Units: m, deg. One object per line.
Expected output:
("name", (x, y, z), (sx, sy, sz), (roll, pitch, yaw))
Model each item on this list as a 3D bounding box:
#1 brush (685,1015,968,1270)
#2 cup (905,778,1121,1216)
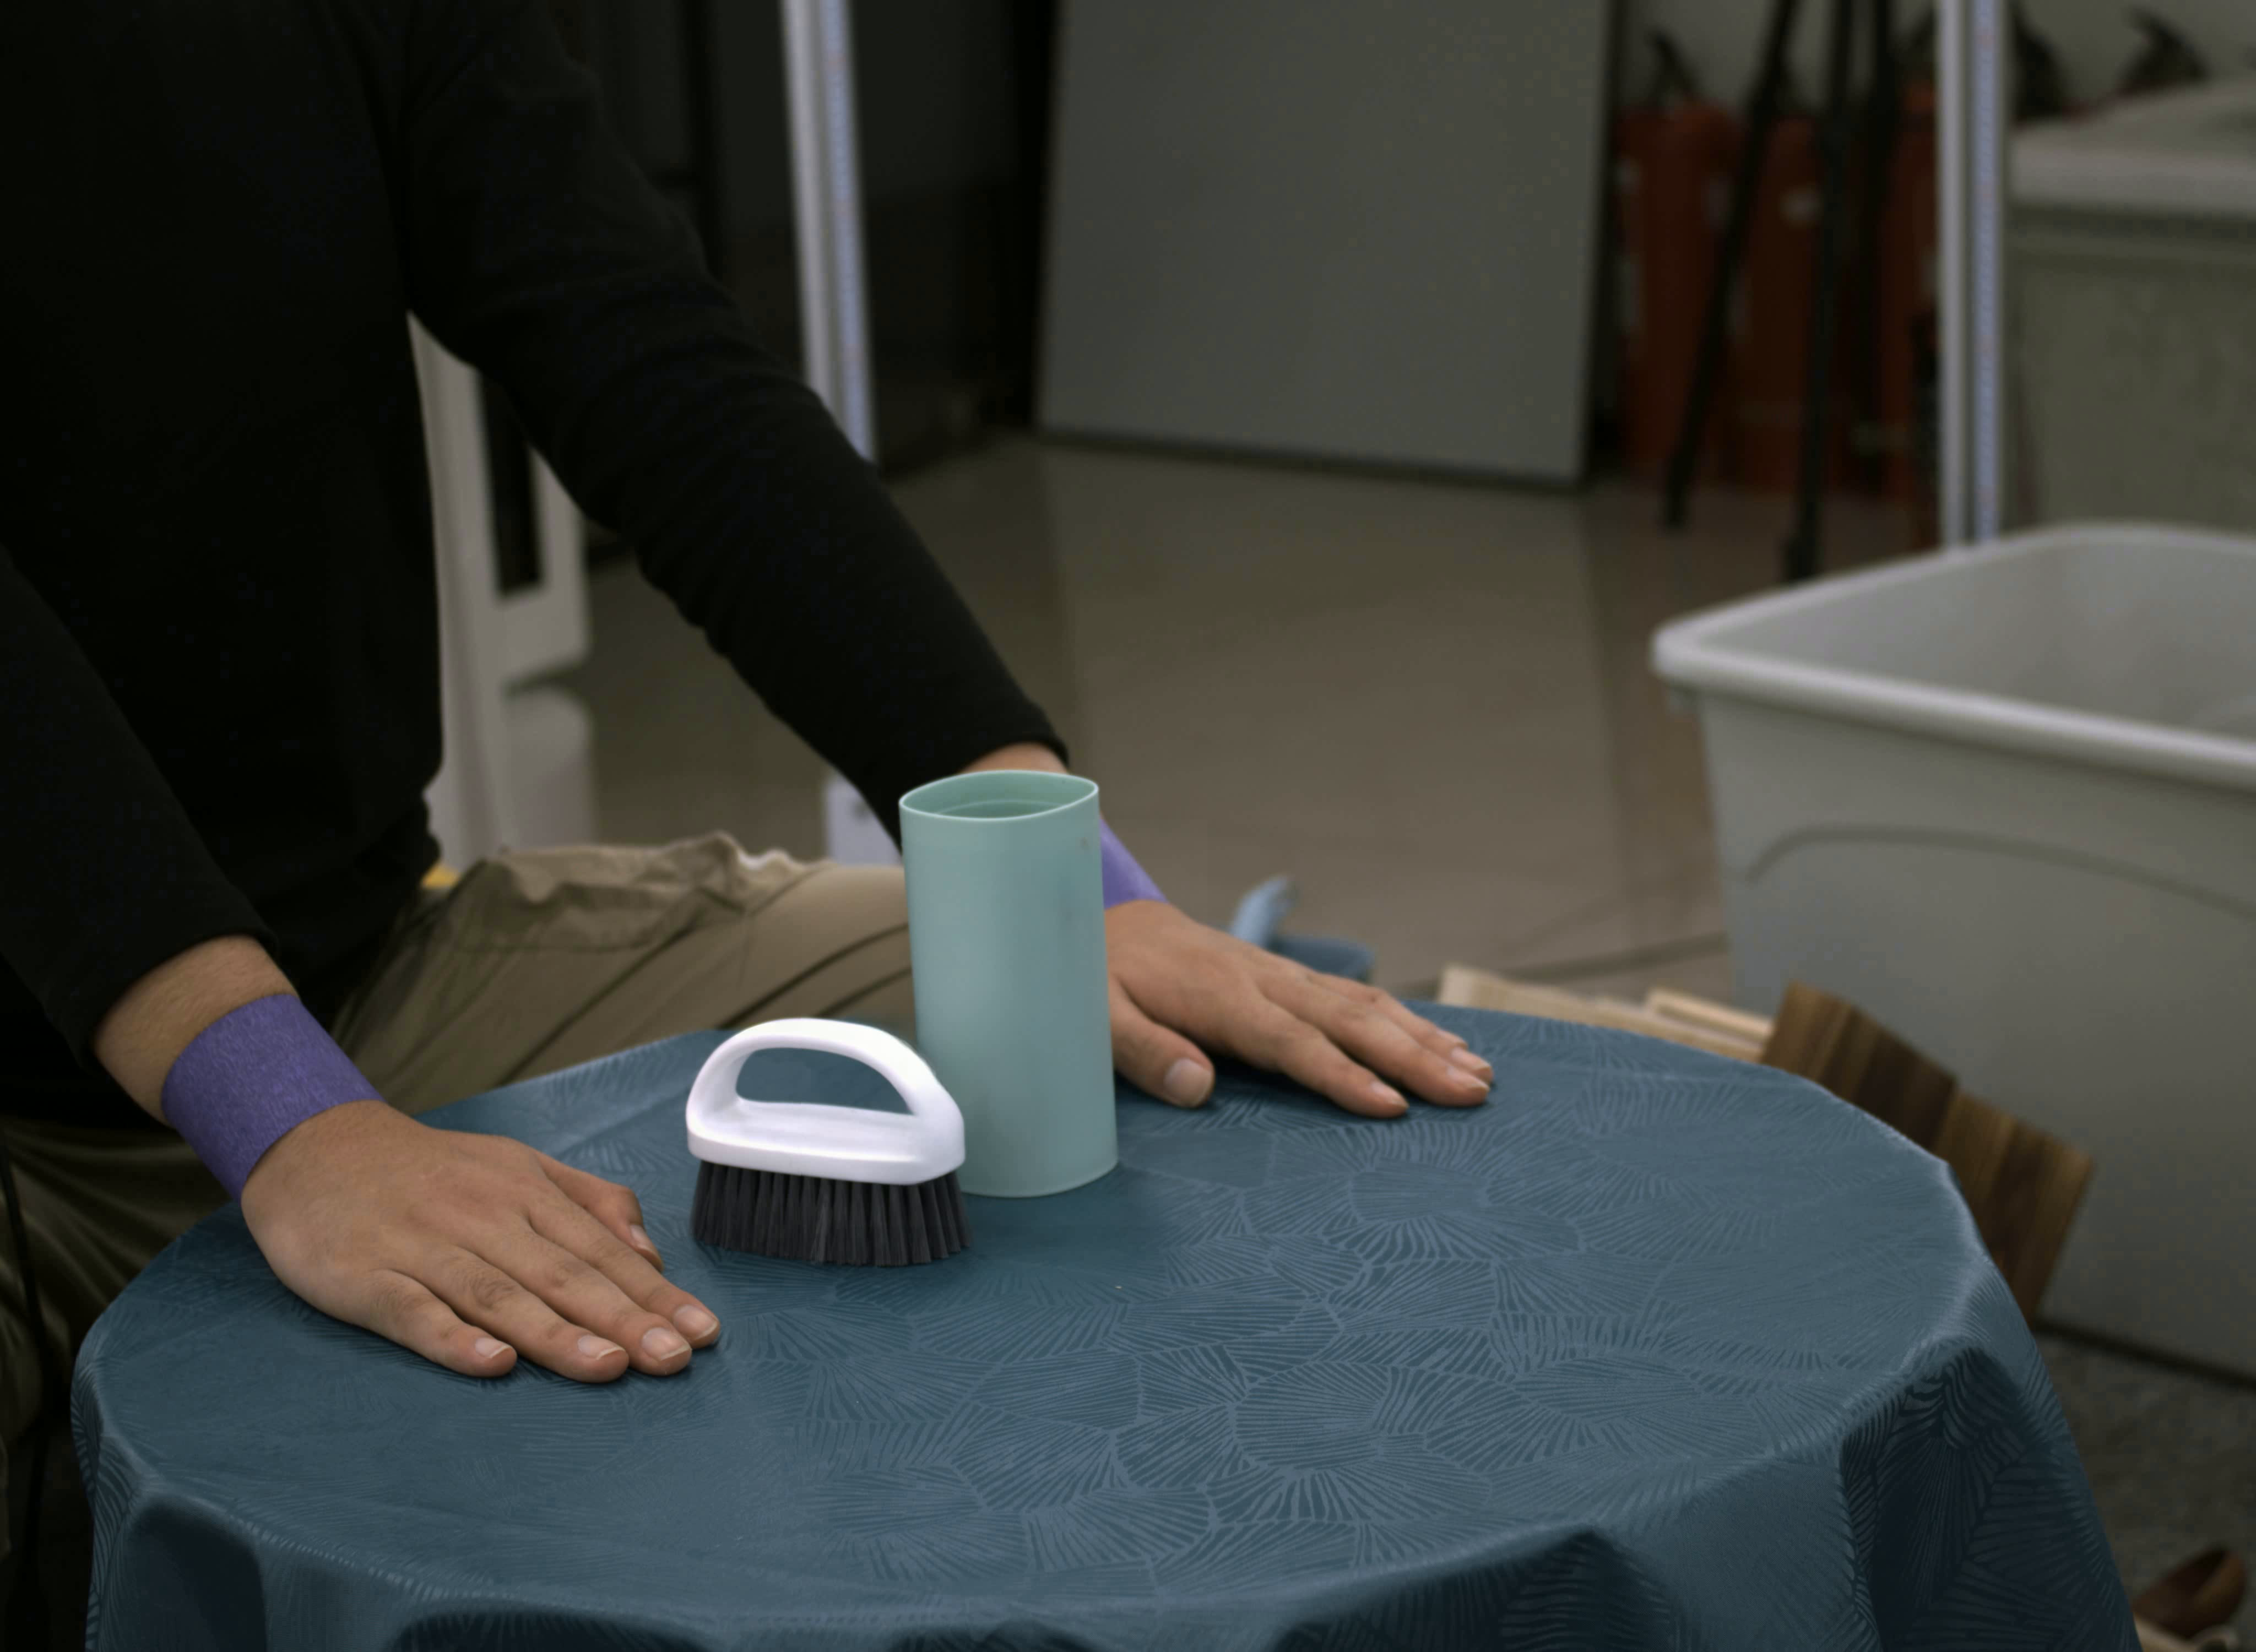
("brush", (-0.098, 0.098, 1.735), (0.099, 0.073, 0.049), (6, 14, 32))
("cup", (-0.038, 0.056, 1.785), (0.066, 0.134, 0.067), (-3, 14, 0))
